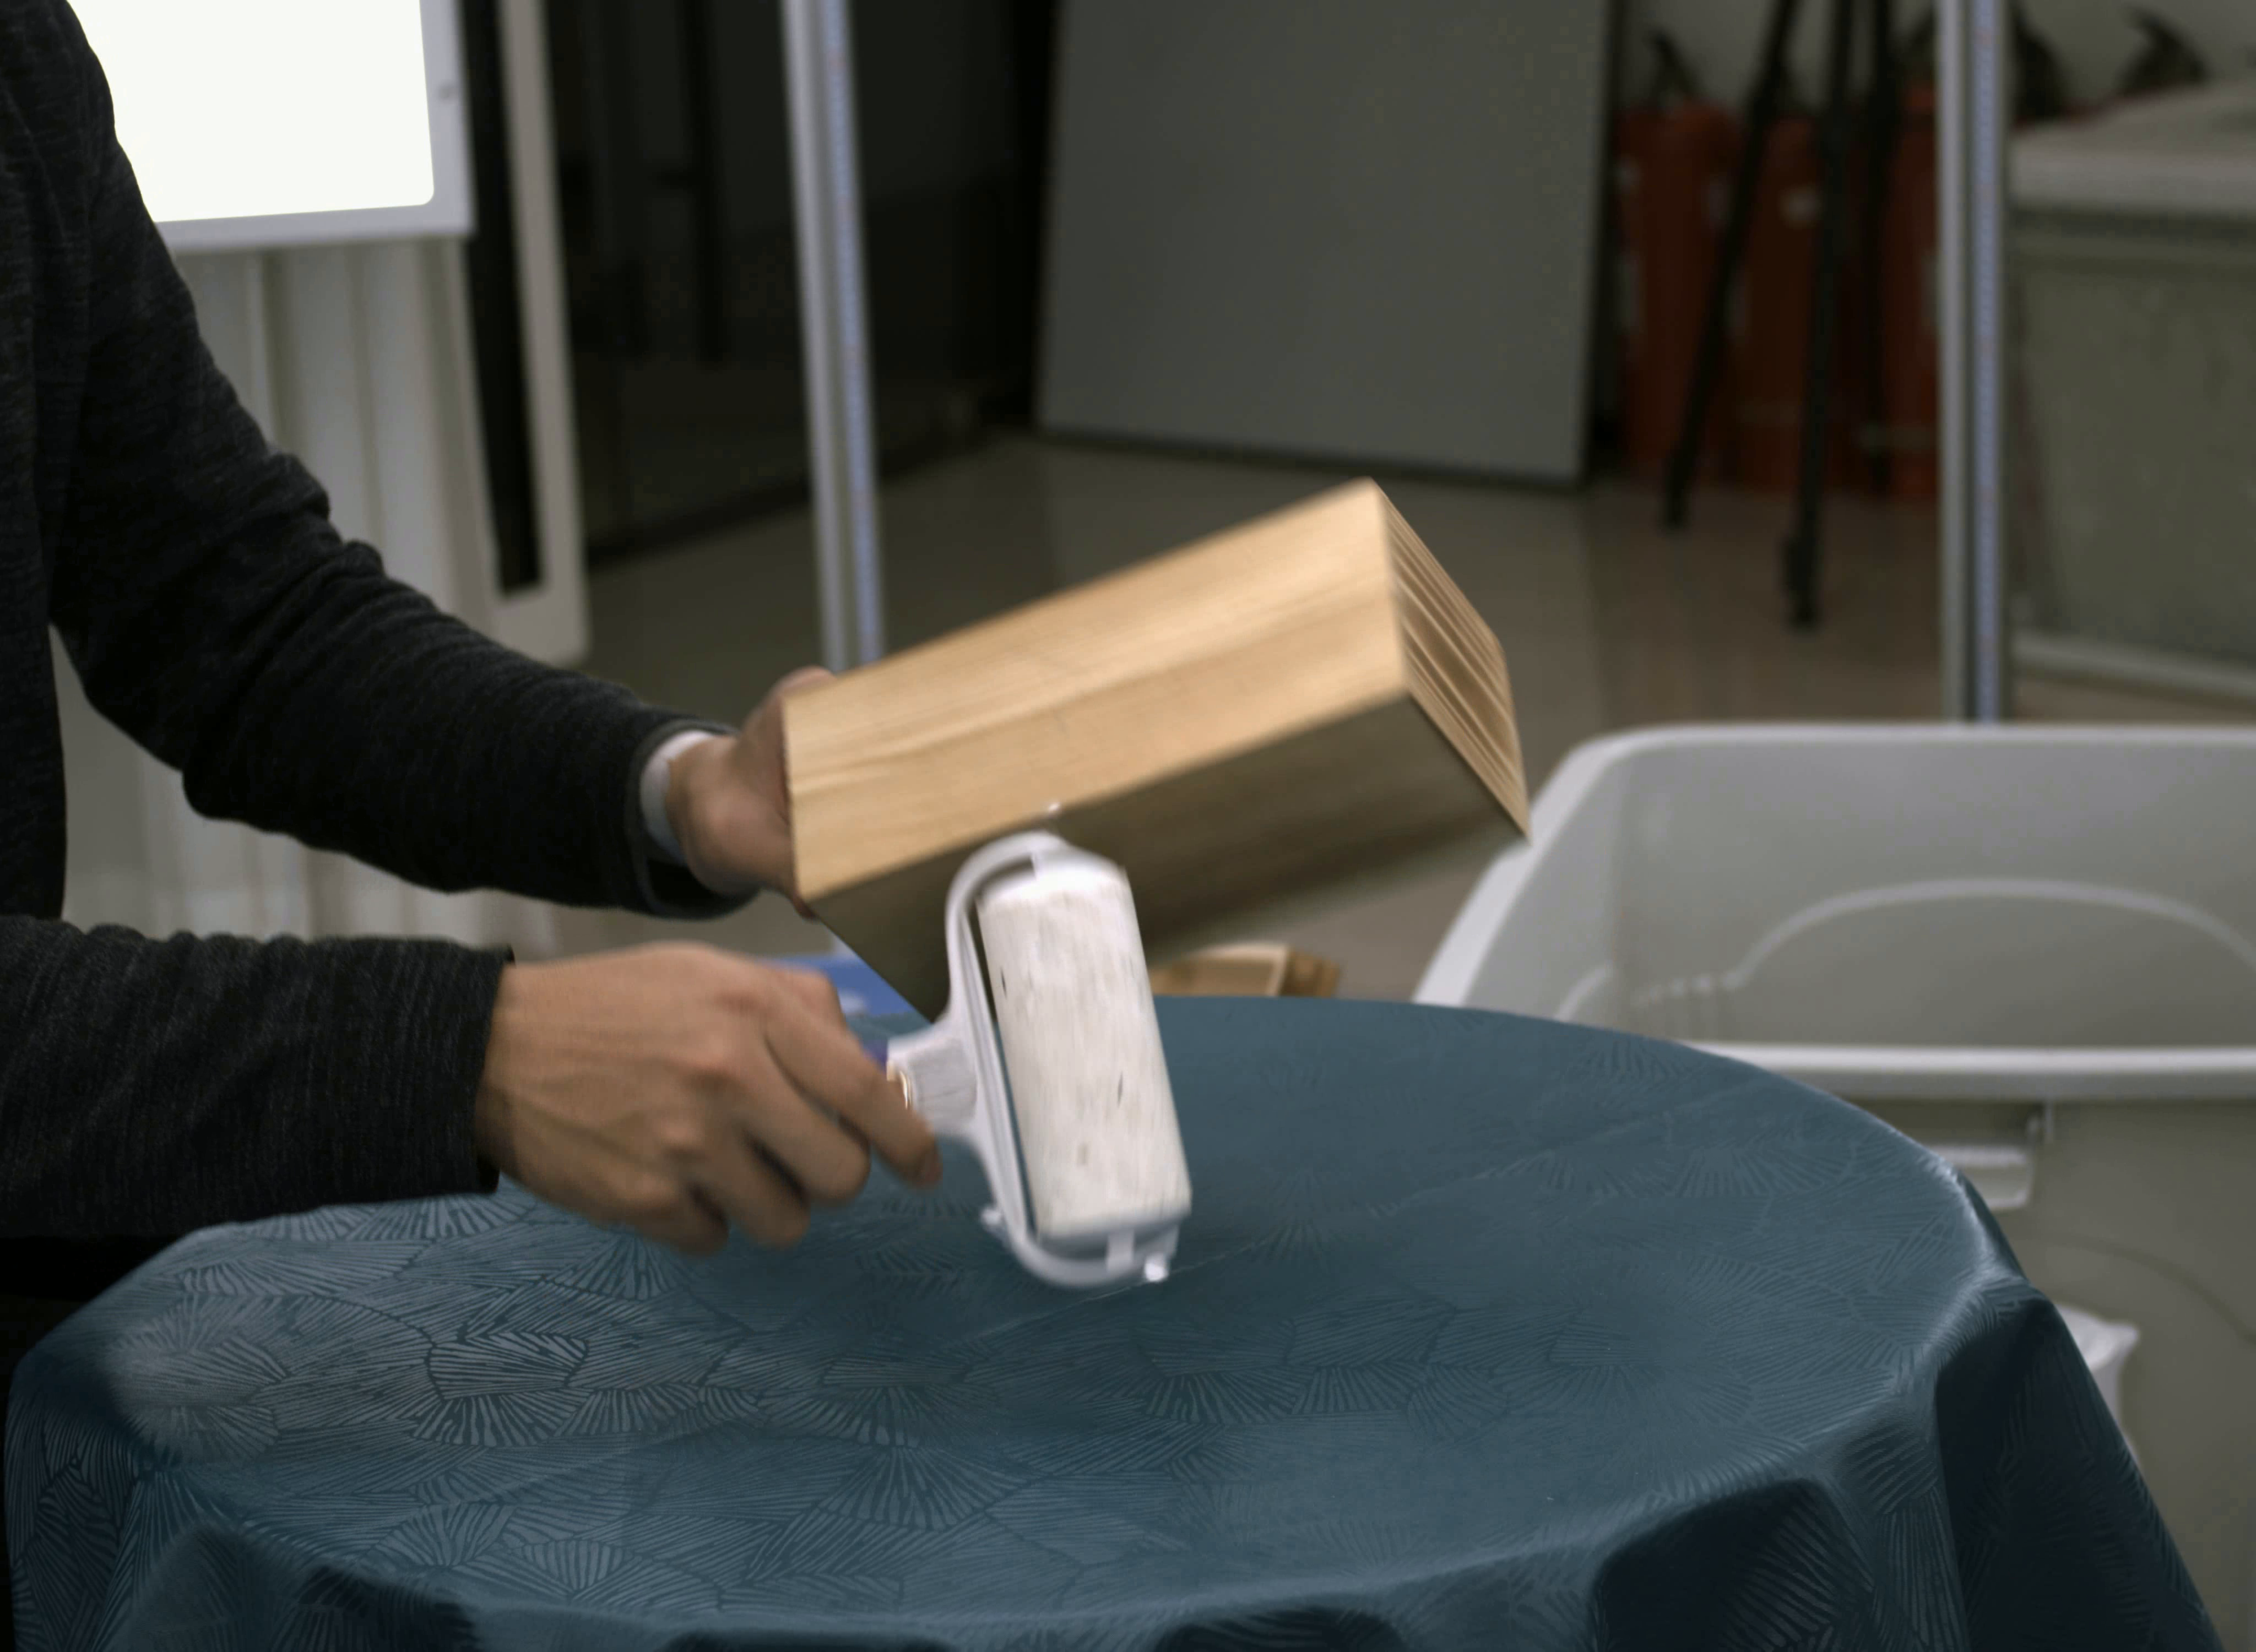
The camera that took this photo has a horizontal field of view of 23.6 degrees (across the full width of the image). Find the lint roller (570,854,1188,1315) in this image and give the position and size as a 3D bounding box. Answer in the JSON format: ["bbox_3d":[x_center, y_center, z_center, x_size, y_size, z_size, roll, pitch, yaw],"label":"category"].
[{"bbox_3d":[-0.077,0.083,1.572,0.178,0.135,0.050,-8,-7,2],"label":"lint roller"}]

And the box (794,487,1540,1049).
[{"bbox_3d":[0.012,-0.014,1.712,0.211,0.081,0.106,-19,-35,18],"label":"box"}]
